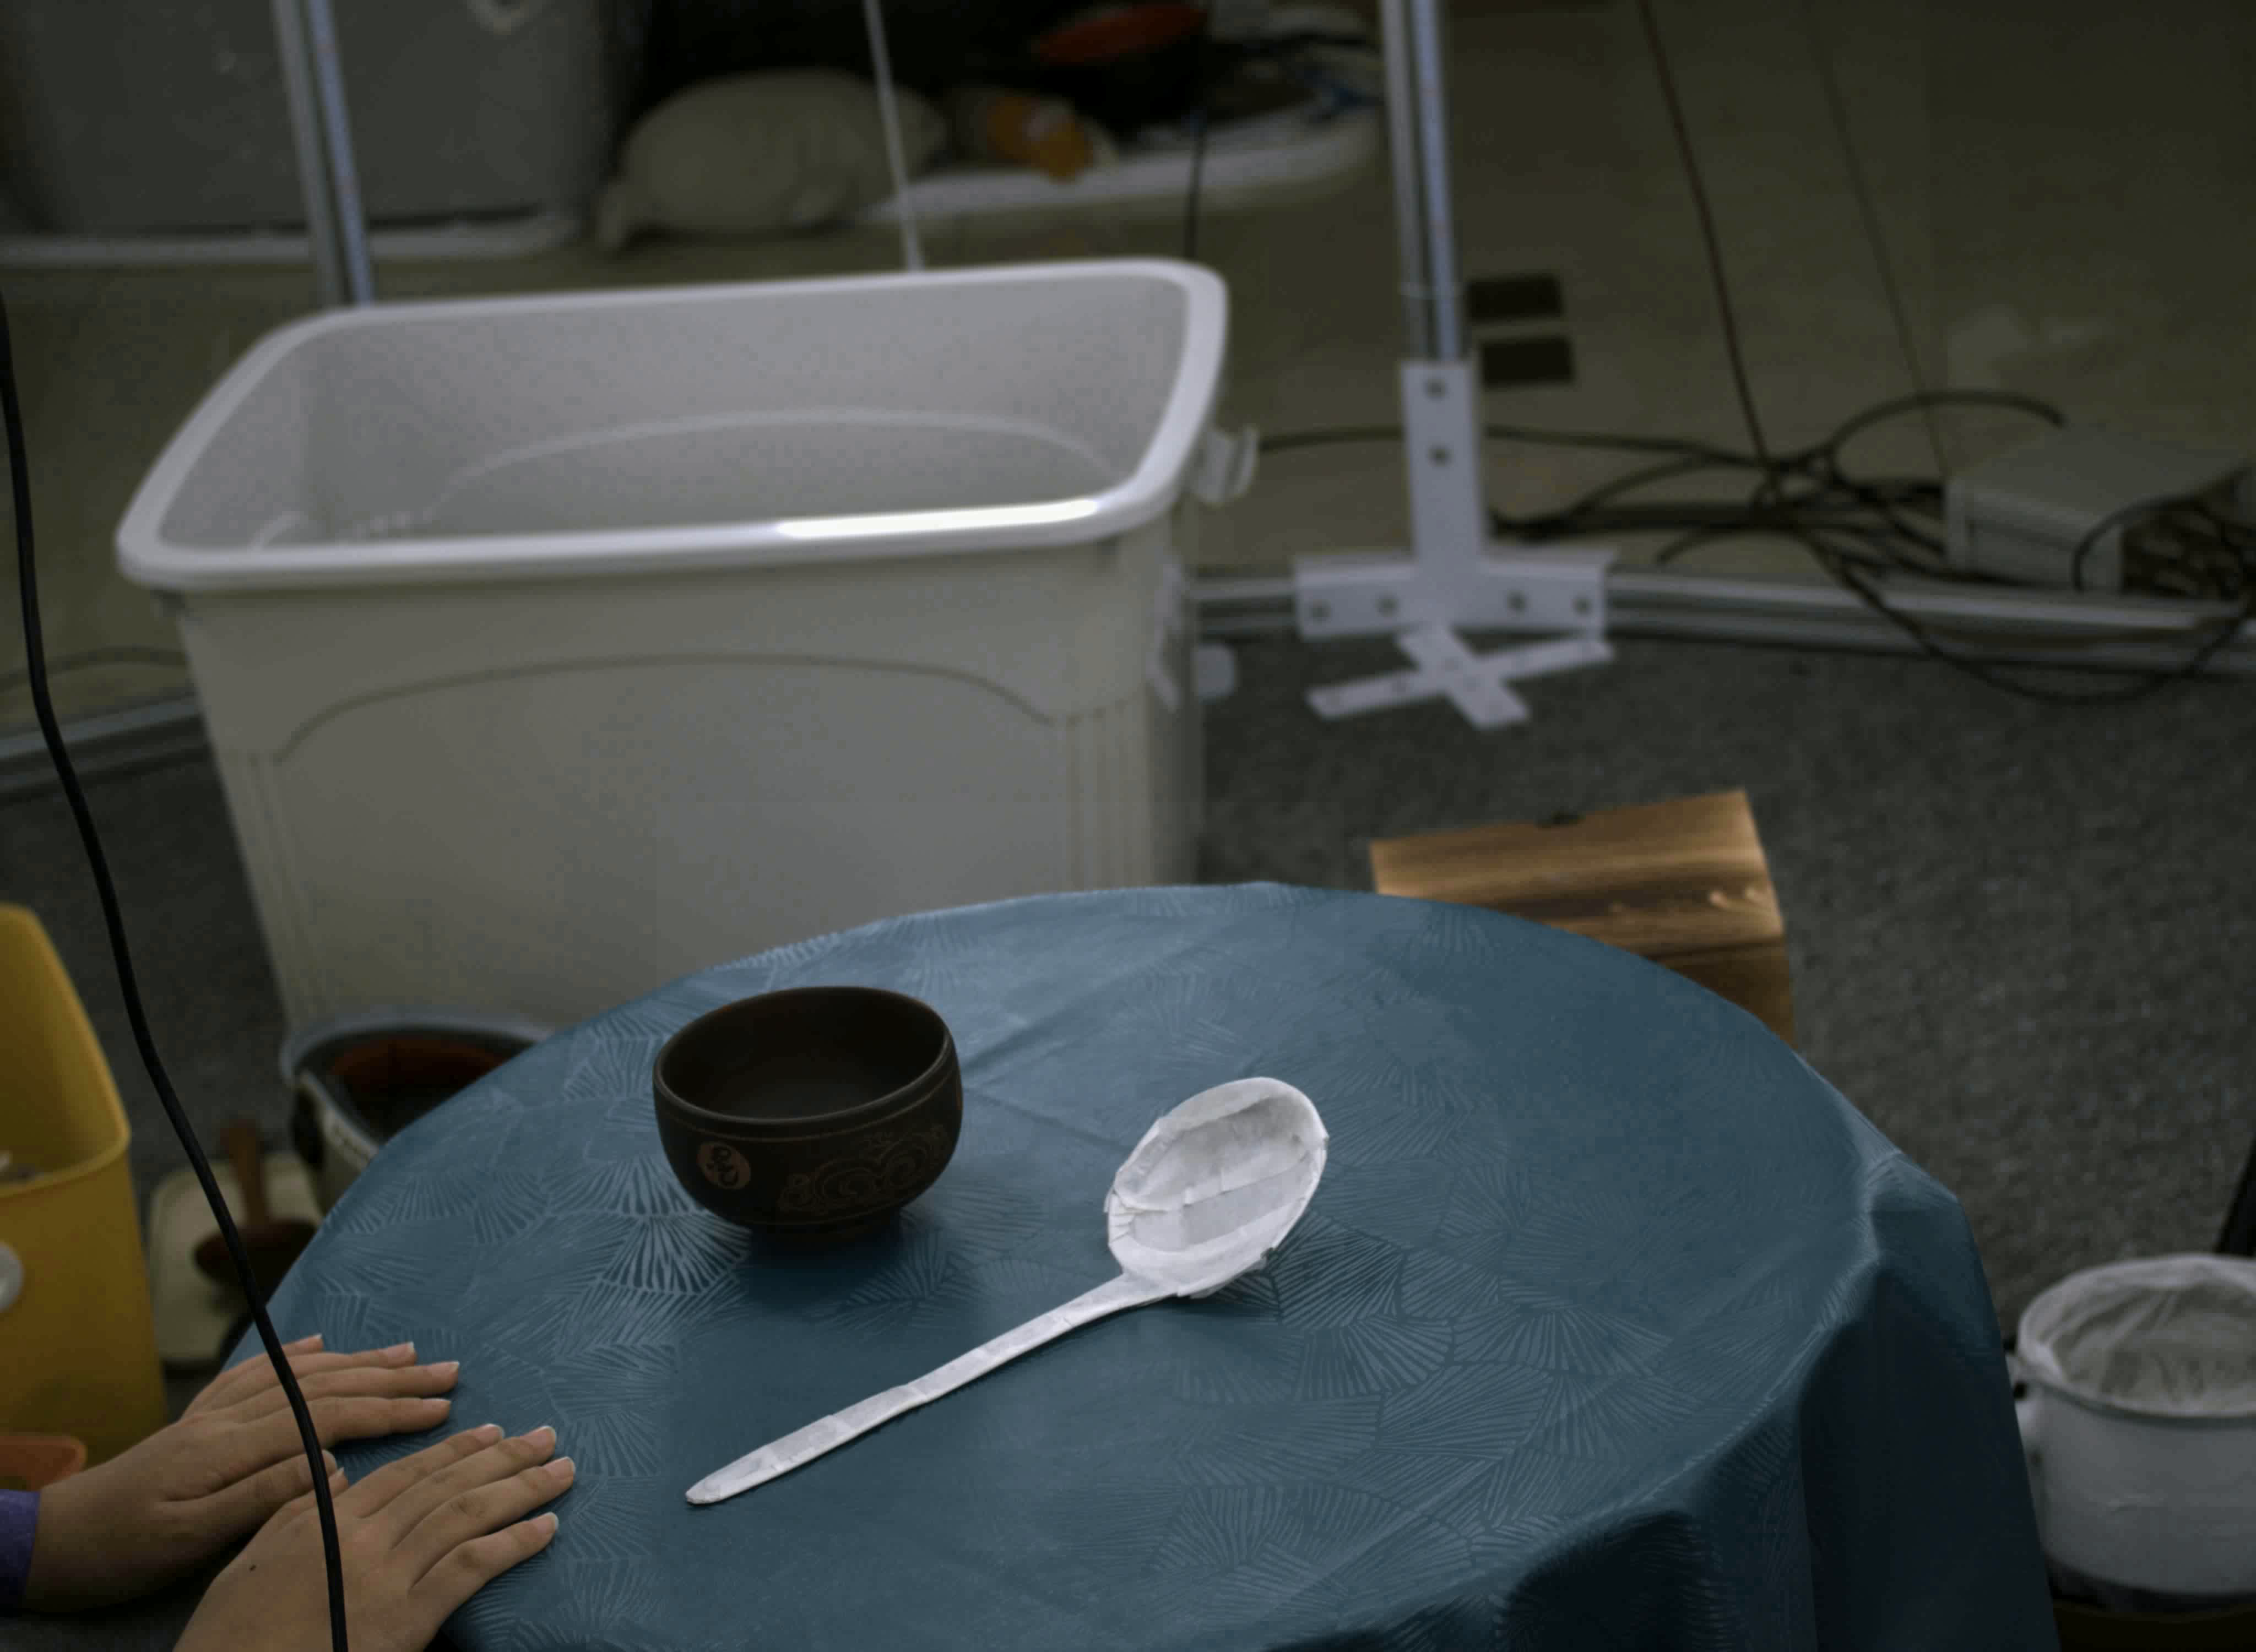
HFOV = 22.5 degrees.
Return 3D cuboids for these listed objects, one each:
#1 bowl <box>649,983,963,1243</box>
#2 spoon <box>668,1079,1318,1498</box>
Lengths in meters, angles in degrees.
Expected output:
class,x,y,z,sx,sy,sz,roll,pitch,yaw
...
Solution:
class,x,y,z,sx,sy,sz,roll,pitch,yaw
bowl,-0.119,0.114,2.143,0.118,0.071,0.116,-5,25,2
spoon,-0.052,0.164,2.040,0.276,0.060,0.100,-21,25,-28
